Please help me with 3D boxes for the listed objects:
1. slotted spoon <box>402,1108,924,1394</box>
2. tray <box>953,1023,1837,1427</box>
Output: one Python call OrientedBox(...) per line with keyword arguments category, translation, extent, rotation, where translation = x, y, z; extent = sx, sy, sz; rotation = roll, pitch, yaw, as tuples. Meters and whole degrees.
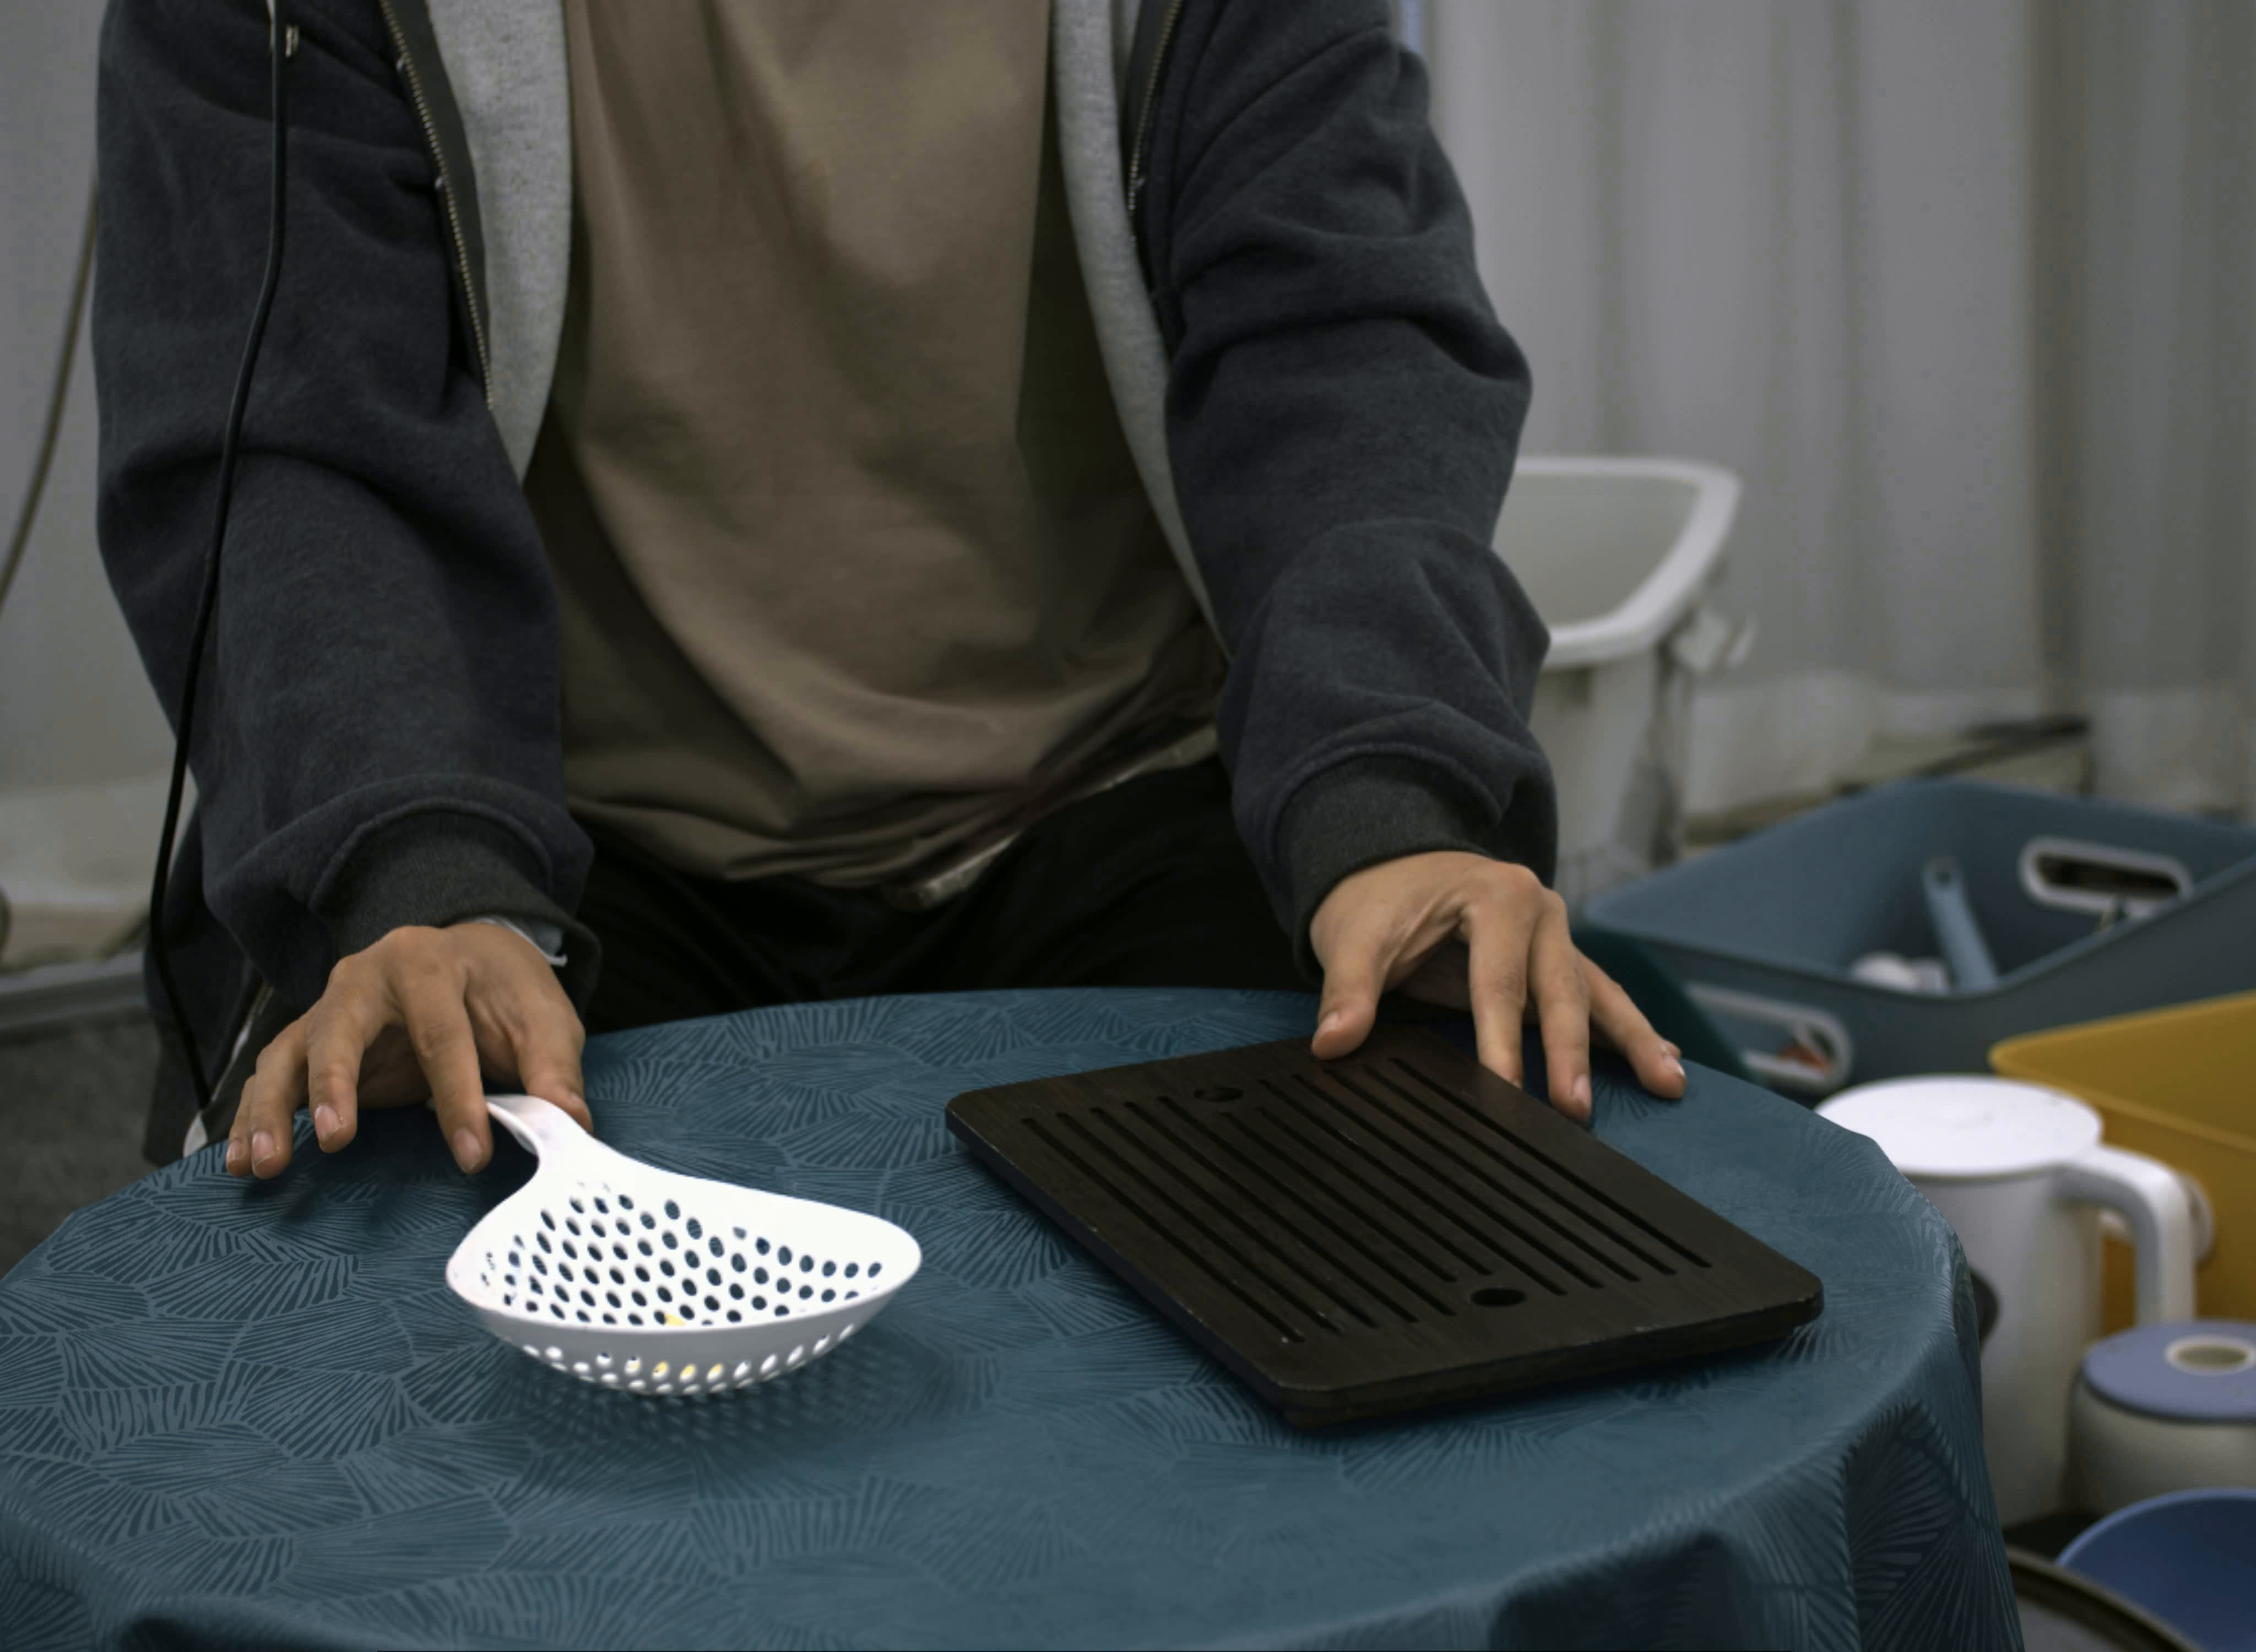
OrientedBox(category="slotted spoon", translation=(-0.166, 0.115, 1.666), extent=(0.136, 0.050, 0.351), rotation=(-8, 16, -20))
OrientedBox(category="tray", translation=(0.073, 0.117, 1.658), extent=(0.169, 0.018, 0.308), rotation=(-8, 16, -19))
